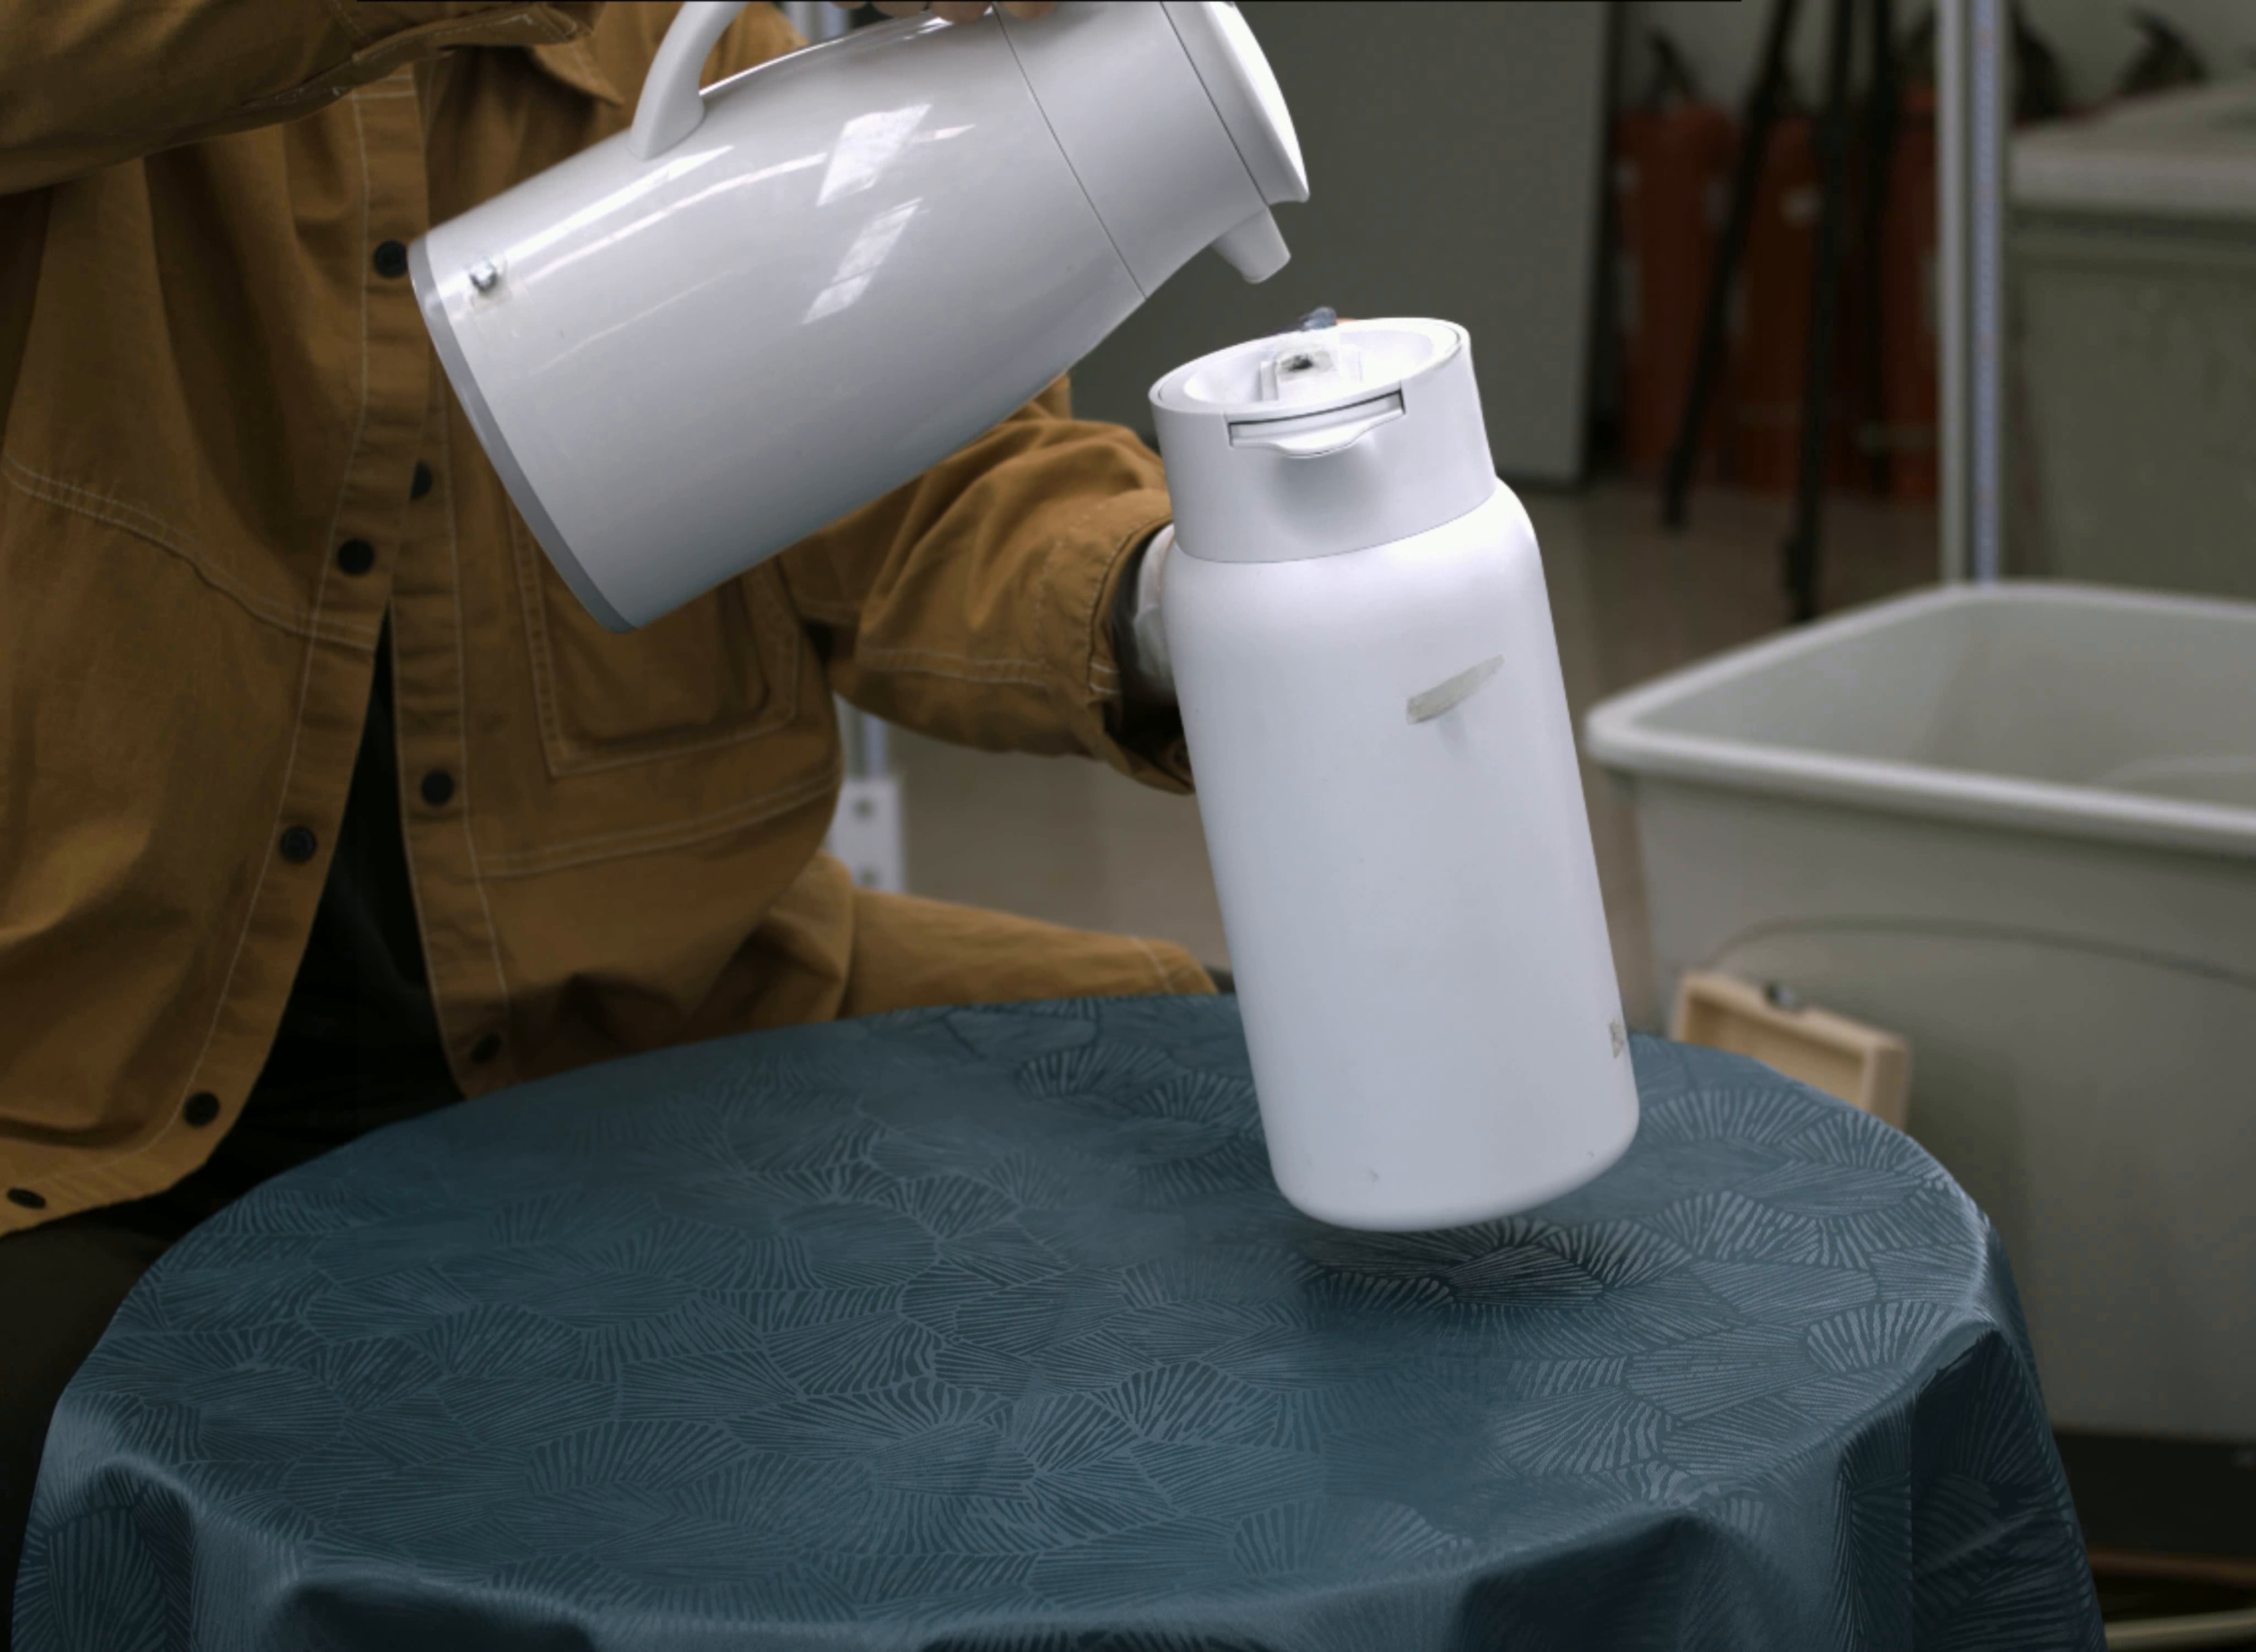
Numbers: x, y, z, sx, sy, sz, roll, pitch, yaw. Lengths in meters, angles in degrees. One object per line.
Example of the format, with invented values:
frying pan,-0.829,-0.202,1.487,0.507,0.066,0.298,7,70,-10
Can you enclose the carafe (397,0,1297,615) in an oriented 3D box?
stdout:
carafe,-0.082,-0.190,1.562,0.247,0.167,0.133,-28,29,6

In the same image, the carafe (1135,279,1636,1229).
carafe,0.076,-0.025,1.658,0.123,0.271,0.173,-13,16,5
